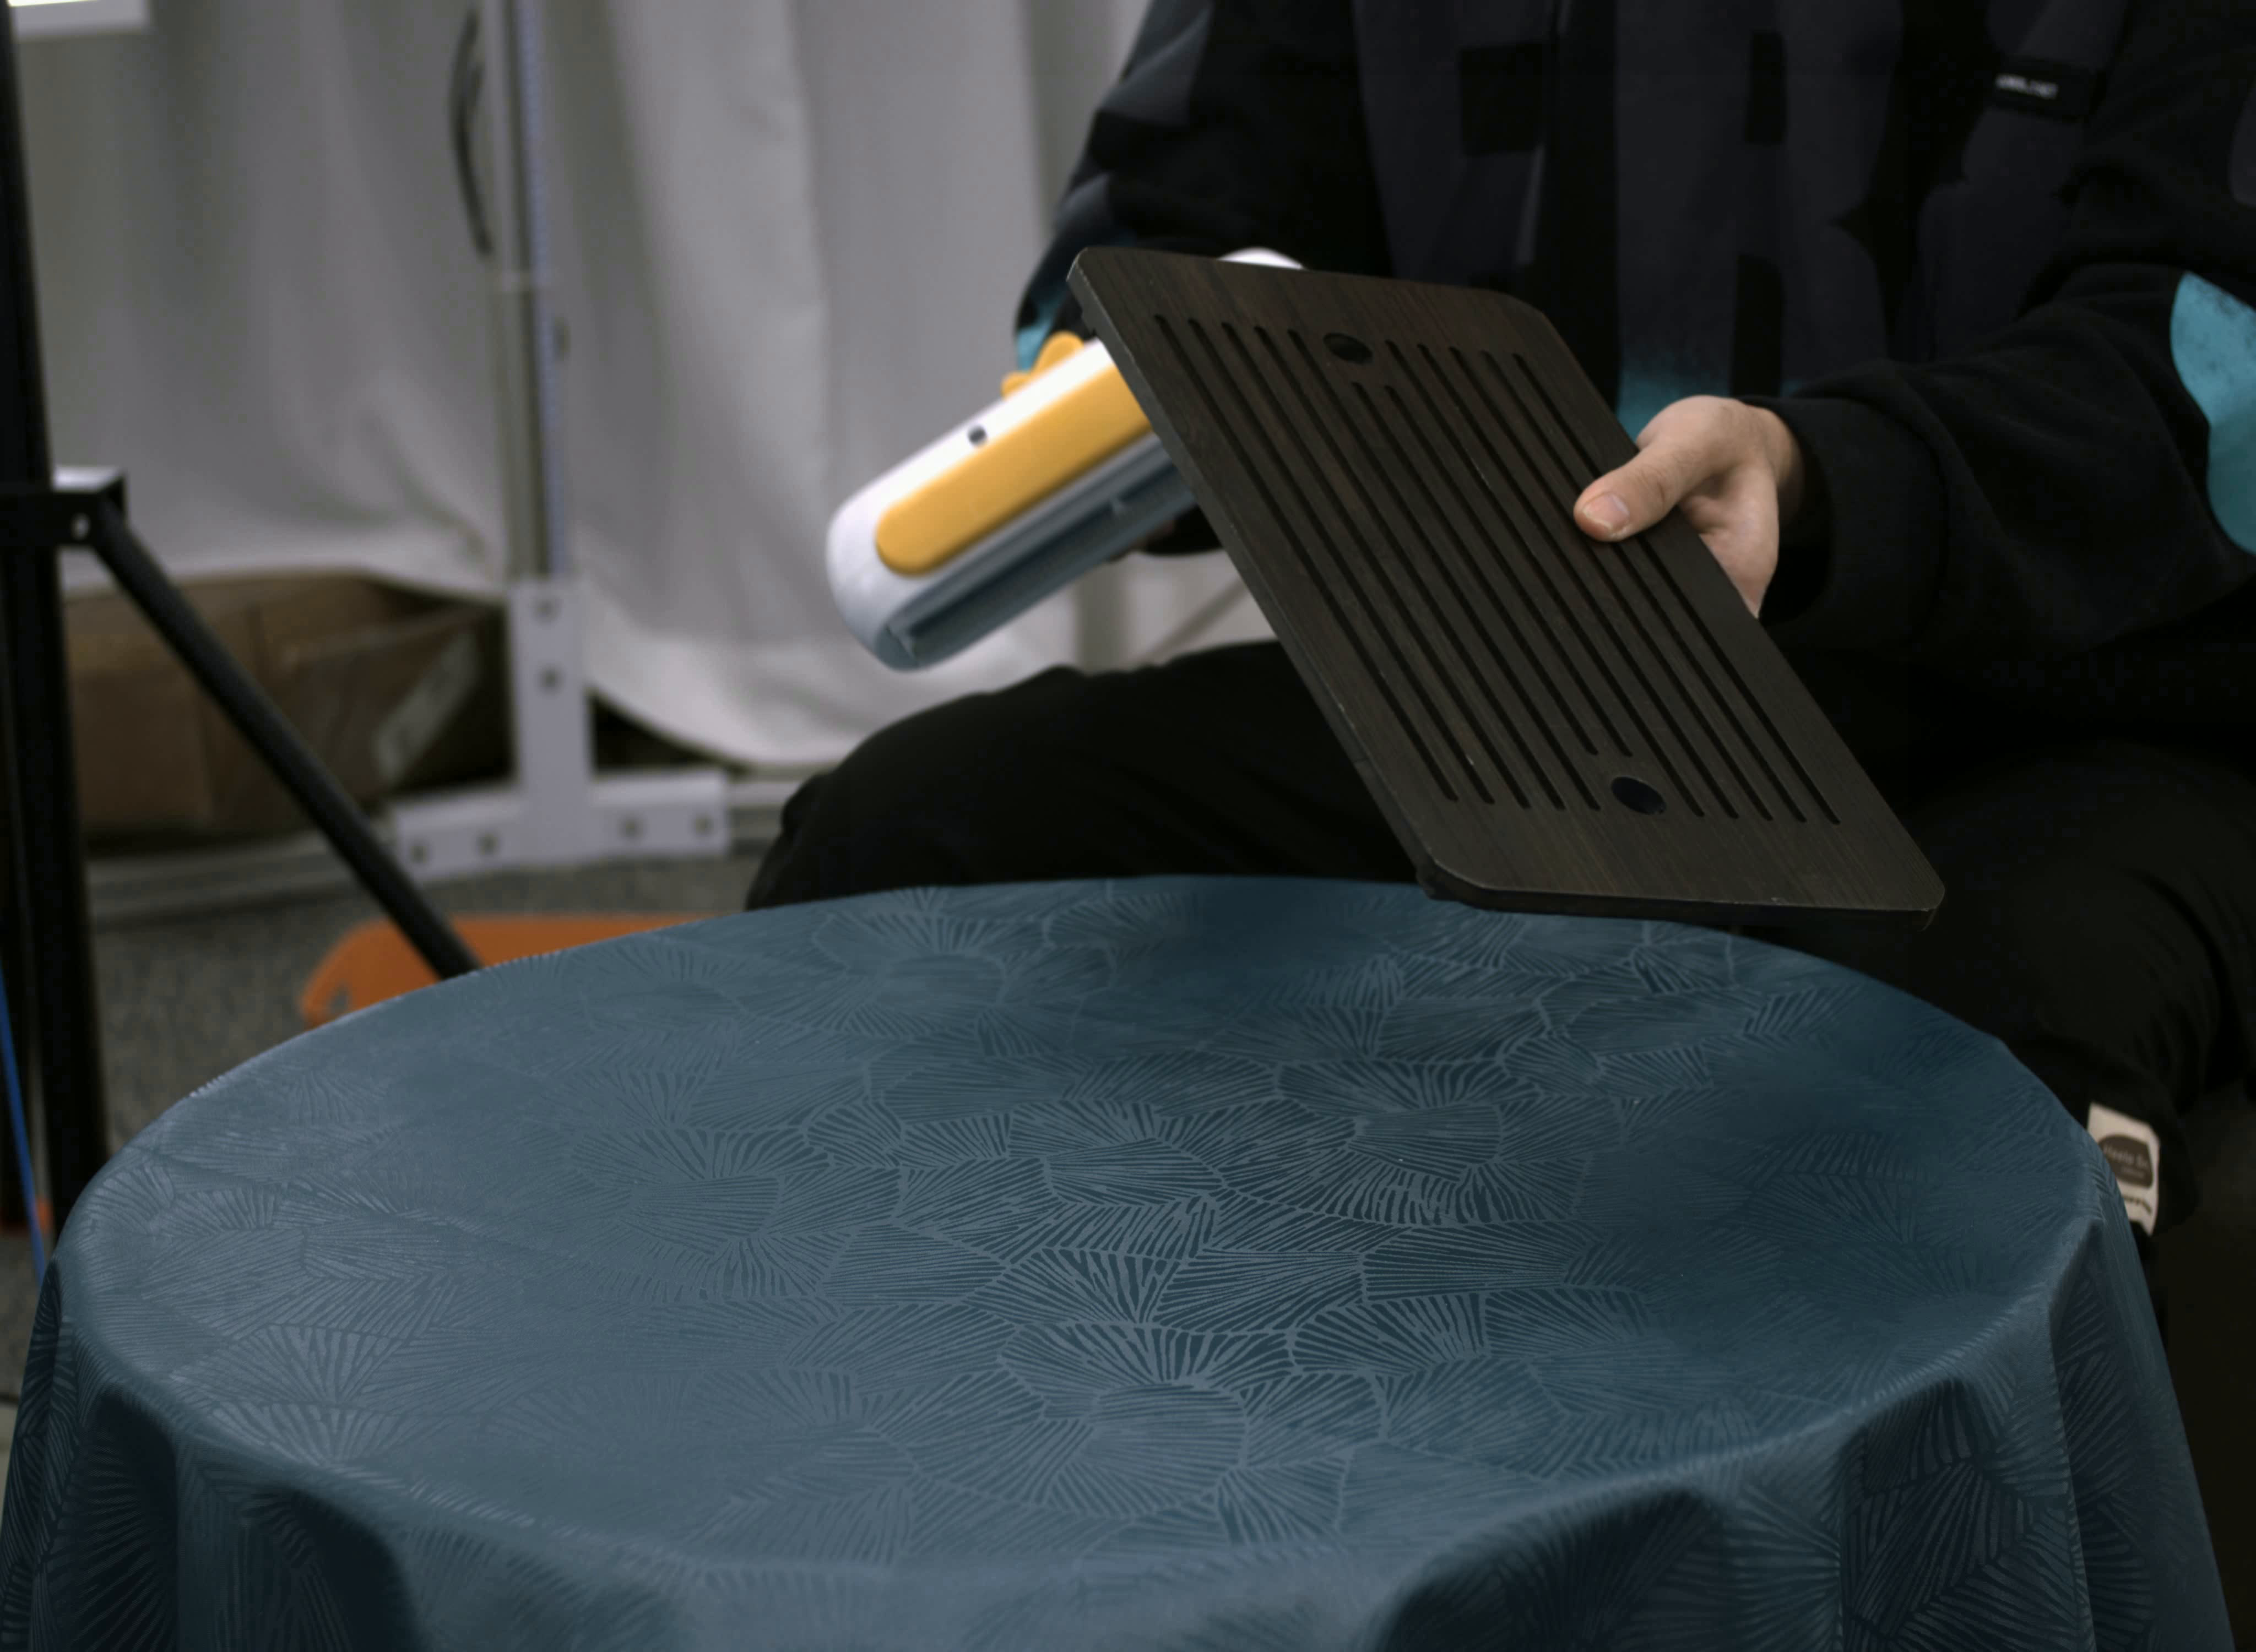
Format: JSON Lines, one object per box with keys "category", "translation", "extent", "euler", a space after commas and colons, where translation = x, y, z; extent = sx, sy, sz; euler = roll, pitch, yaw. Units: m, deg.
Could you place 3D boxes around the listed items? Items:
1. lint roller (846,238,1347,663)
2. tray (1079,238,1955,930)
{"category": "lint roller", "translation": [-0.003, -0.117, 1.809], "extent": [0.192, 0.075, 0.190], "euler": [-36, -13, 0]}
{"category": "tray", "translation": [0.106, -0.071, 1.541], "extent": [0.166, 0.019, 0.312], "euler": [3, 37, -27]}
